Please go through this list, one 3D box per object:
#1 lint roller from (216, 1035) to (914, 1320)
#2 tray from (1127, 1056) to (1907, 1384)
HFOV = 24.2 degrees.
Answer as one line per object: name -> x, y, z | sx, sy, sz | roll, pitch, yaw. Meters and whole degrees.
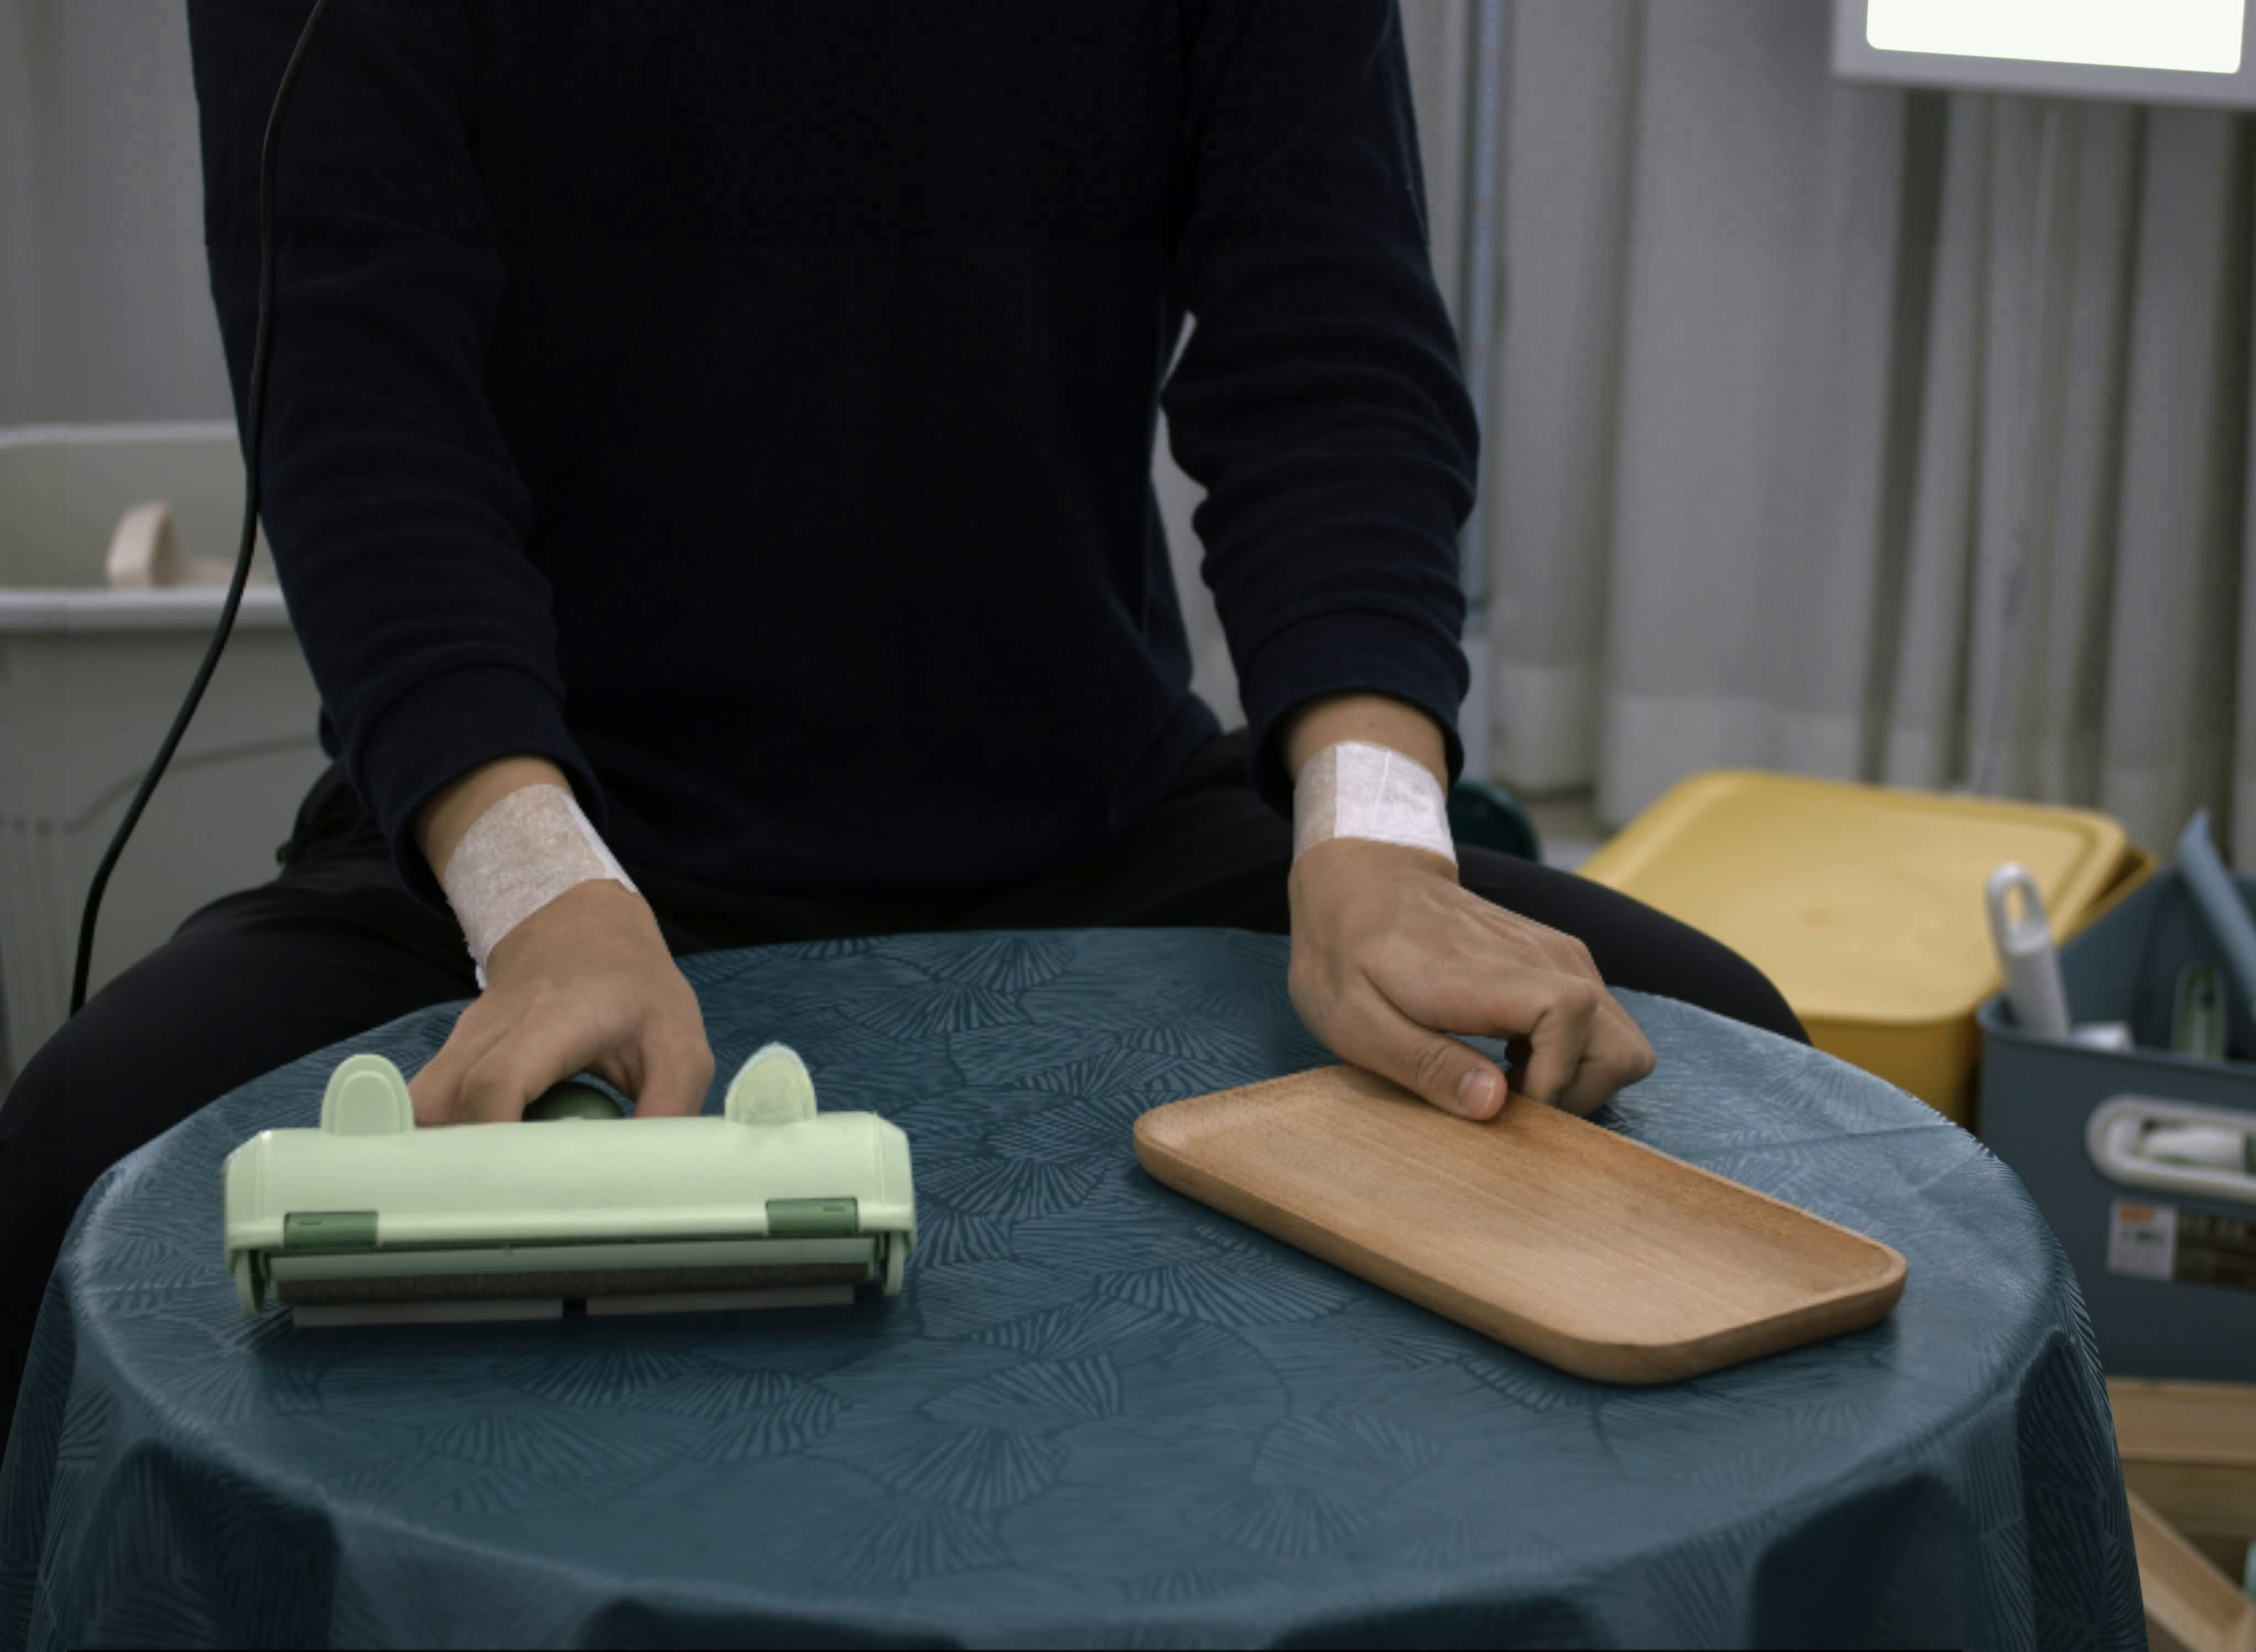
lint roller -> -0.167, 0.083, 1.558 | 0.198, 0.083, 0.181 | -1, 22, -8
tray -> 0.113, 0.116, 1.584 | 0.131, 0.023, 0.247 | -8, 17, -35
